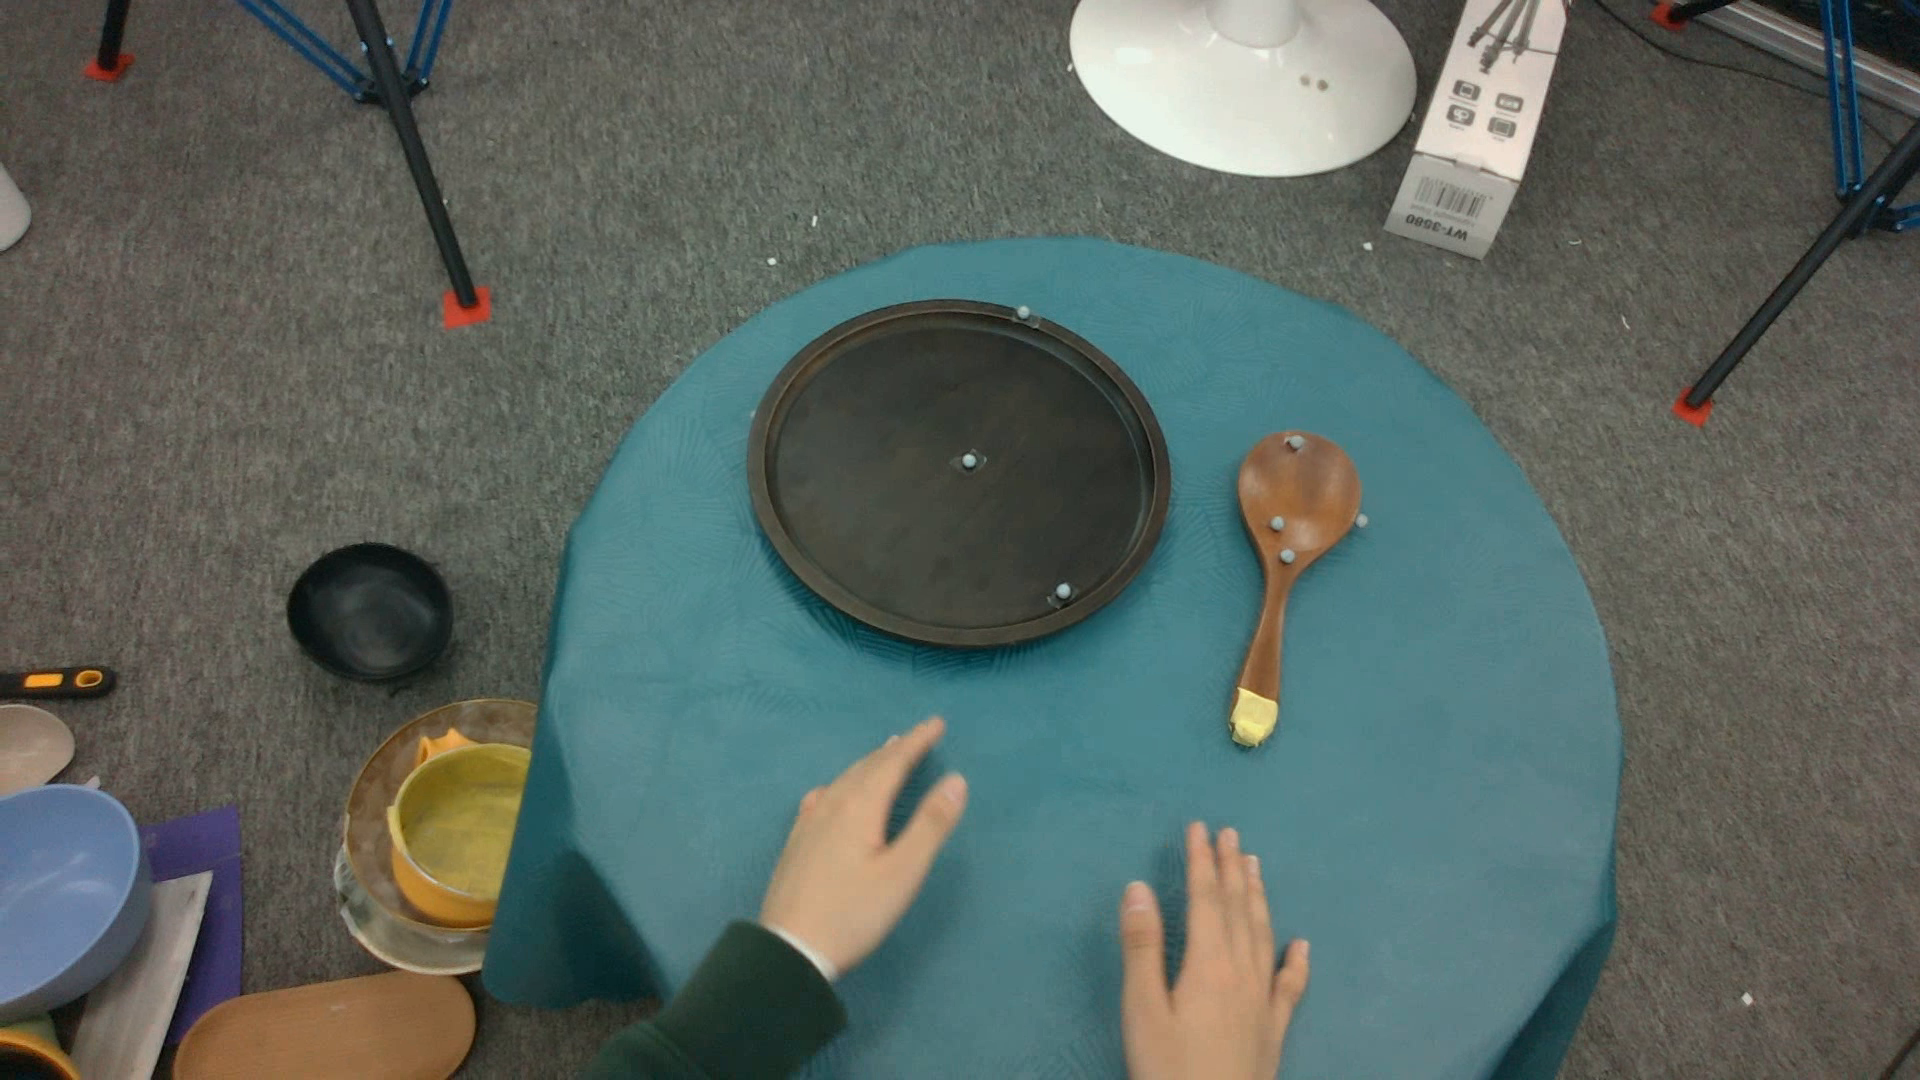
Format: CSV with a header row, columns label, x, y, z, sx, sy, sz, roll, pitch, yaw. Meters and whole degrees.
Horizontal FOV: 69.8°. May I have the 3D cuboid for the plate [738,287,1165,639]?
label,x,y,z,sx,sy,sz,roll,pitch,yaw
plate,-0.004,-0.051,0.821,0.255,0.029,0.256,3,56,-4

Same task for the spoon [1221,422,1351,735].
label,x,y,z,sx,sy,sz,roll,pitch,yaw
spoon,0.181,0.017,0.798,0.075,0.017,0.217,16,57,5
